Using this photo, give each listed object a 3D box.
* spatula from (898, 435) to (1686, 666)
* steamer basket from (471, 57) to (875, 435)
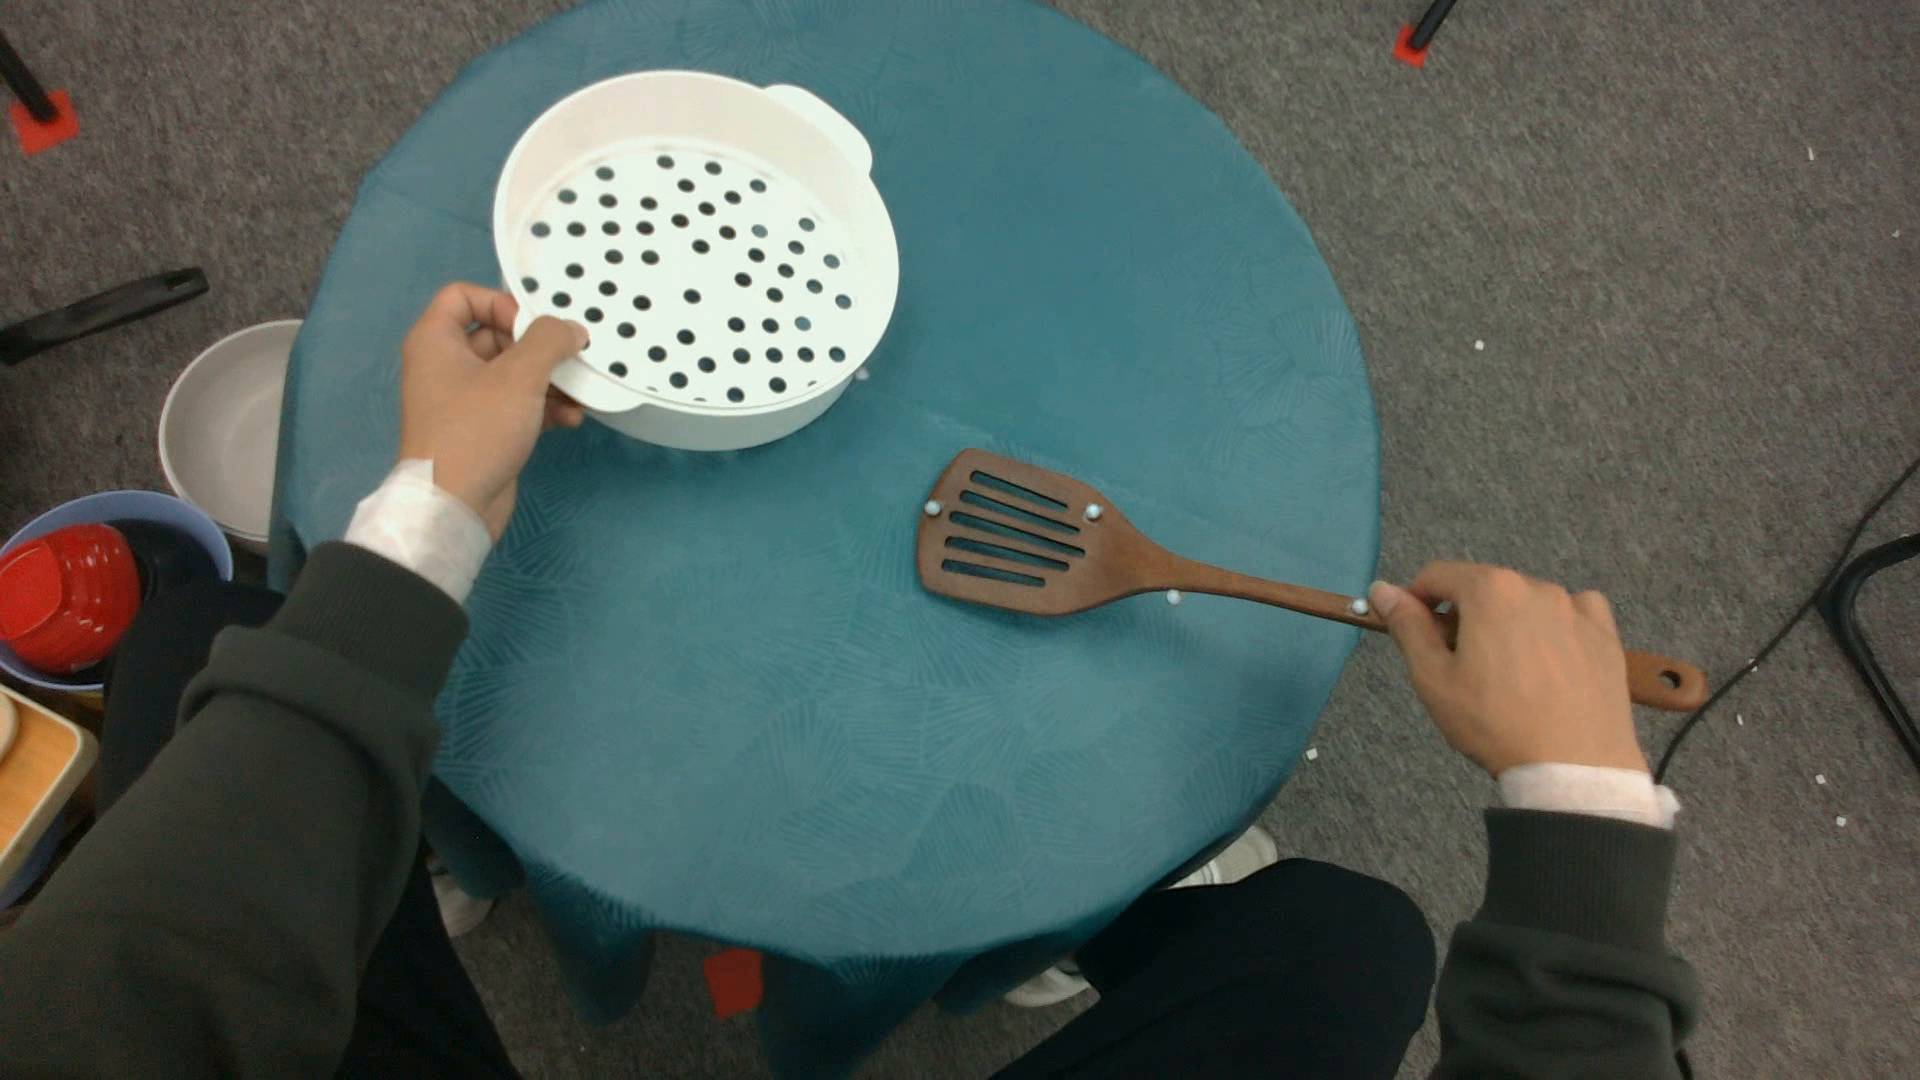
[{"bbox_3d":[0.154,0.014,0.691,0.385,0.023,0.086,10,75,18],"label":"spatula"},{"bbox_3d":[-0.149,-0.153,0.725,0.202,0.069,0.231,36,65,-1],"label":"steamer basket"}]
